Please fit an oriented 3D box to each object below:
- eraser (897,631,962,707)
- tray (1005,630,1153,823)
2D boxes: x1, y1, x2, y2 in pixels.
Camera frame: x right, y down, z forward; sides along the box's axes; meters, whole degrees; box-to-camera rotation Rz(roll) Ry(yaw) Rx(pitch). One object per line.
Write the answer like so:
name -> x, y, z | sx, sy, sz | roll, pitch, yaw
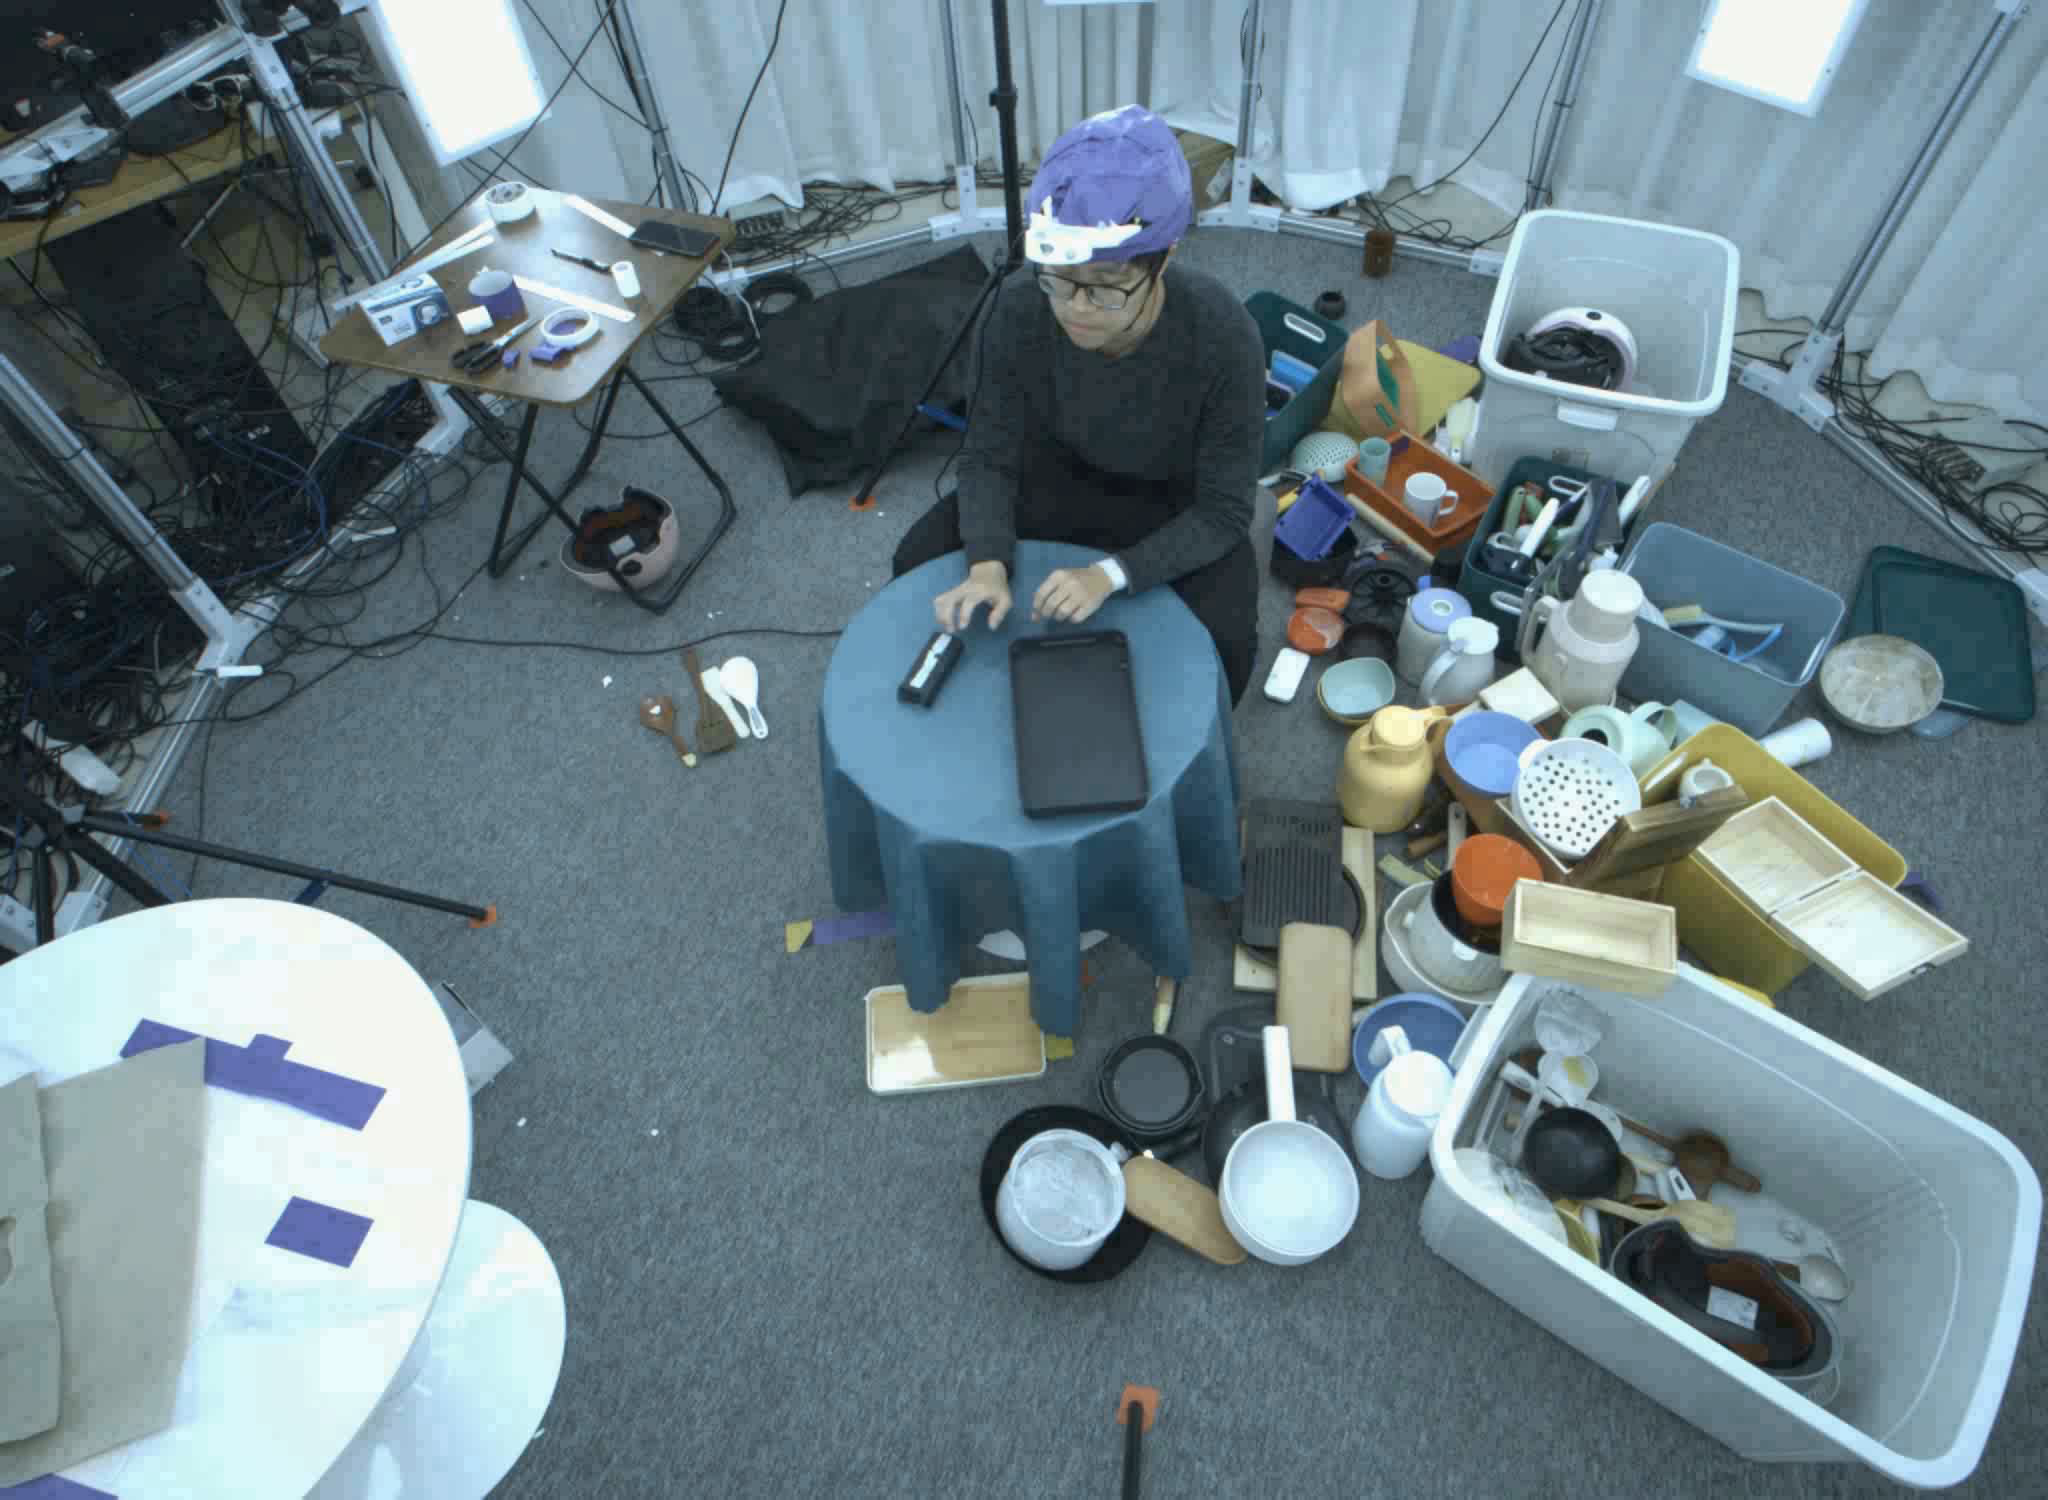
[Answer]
eraser -> -0.143, -0.124, 1.863 | 0.053, 0.031, 0.125 | 19, 56, 13
tray -> 0.076, -0.039, 1.792 | 0.184, 0.037, 0.314 | -5, 54, -2
